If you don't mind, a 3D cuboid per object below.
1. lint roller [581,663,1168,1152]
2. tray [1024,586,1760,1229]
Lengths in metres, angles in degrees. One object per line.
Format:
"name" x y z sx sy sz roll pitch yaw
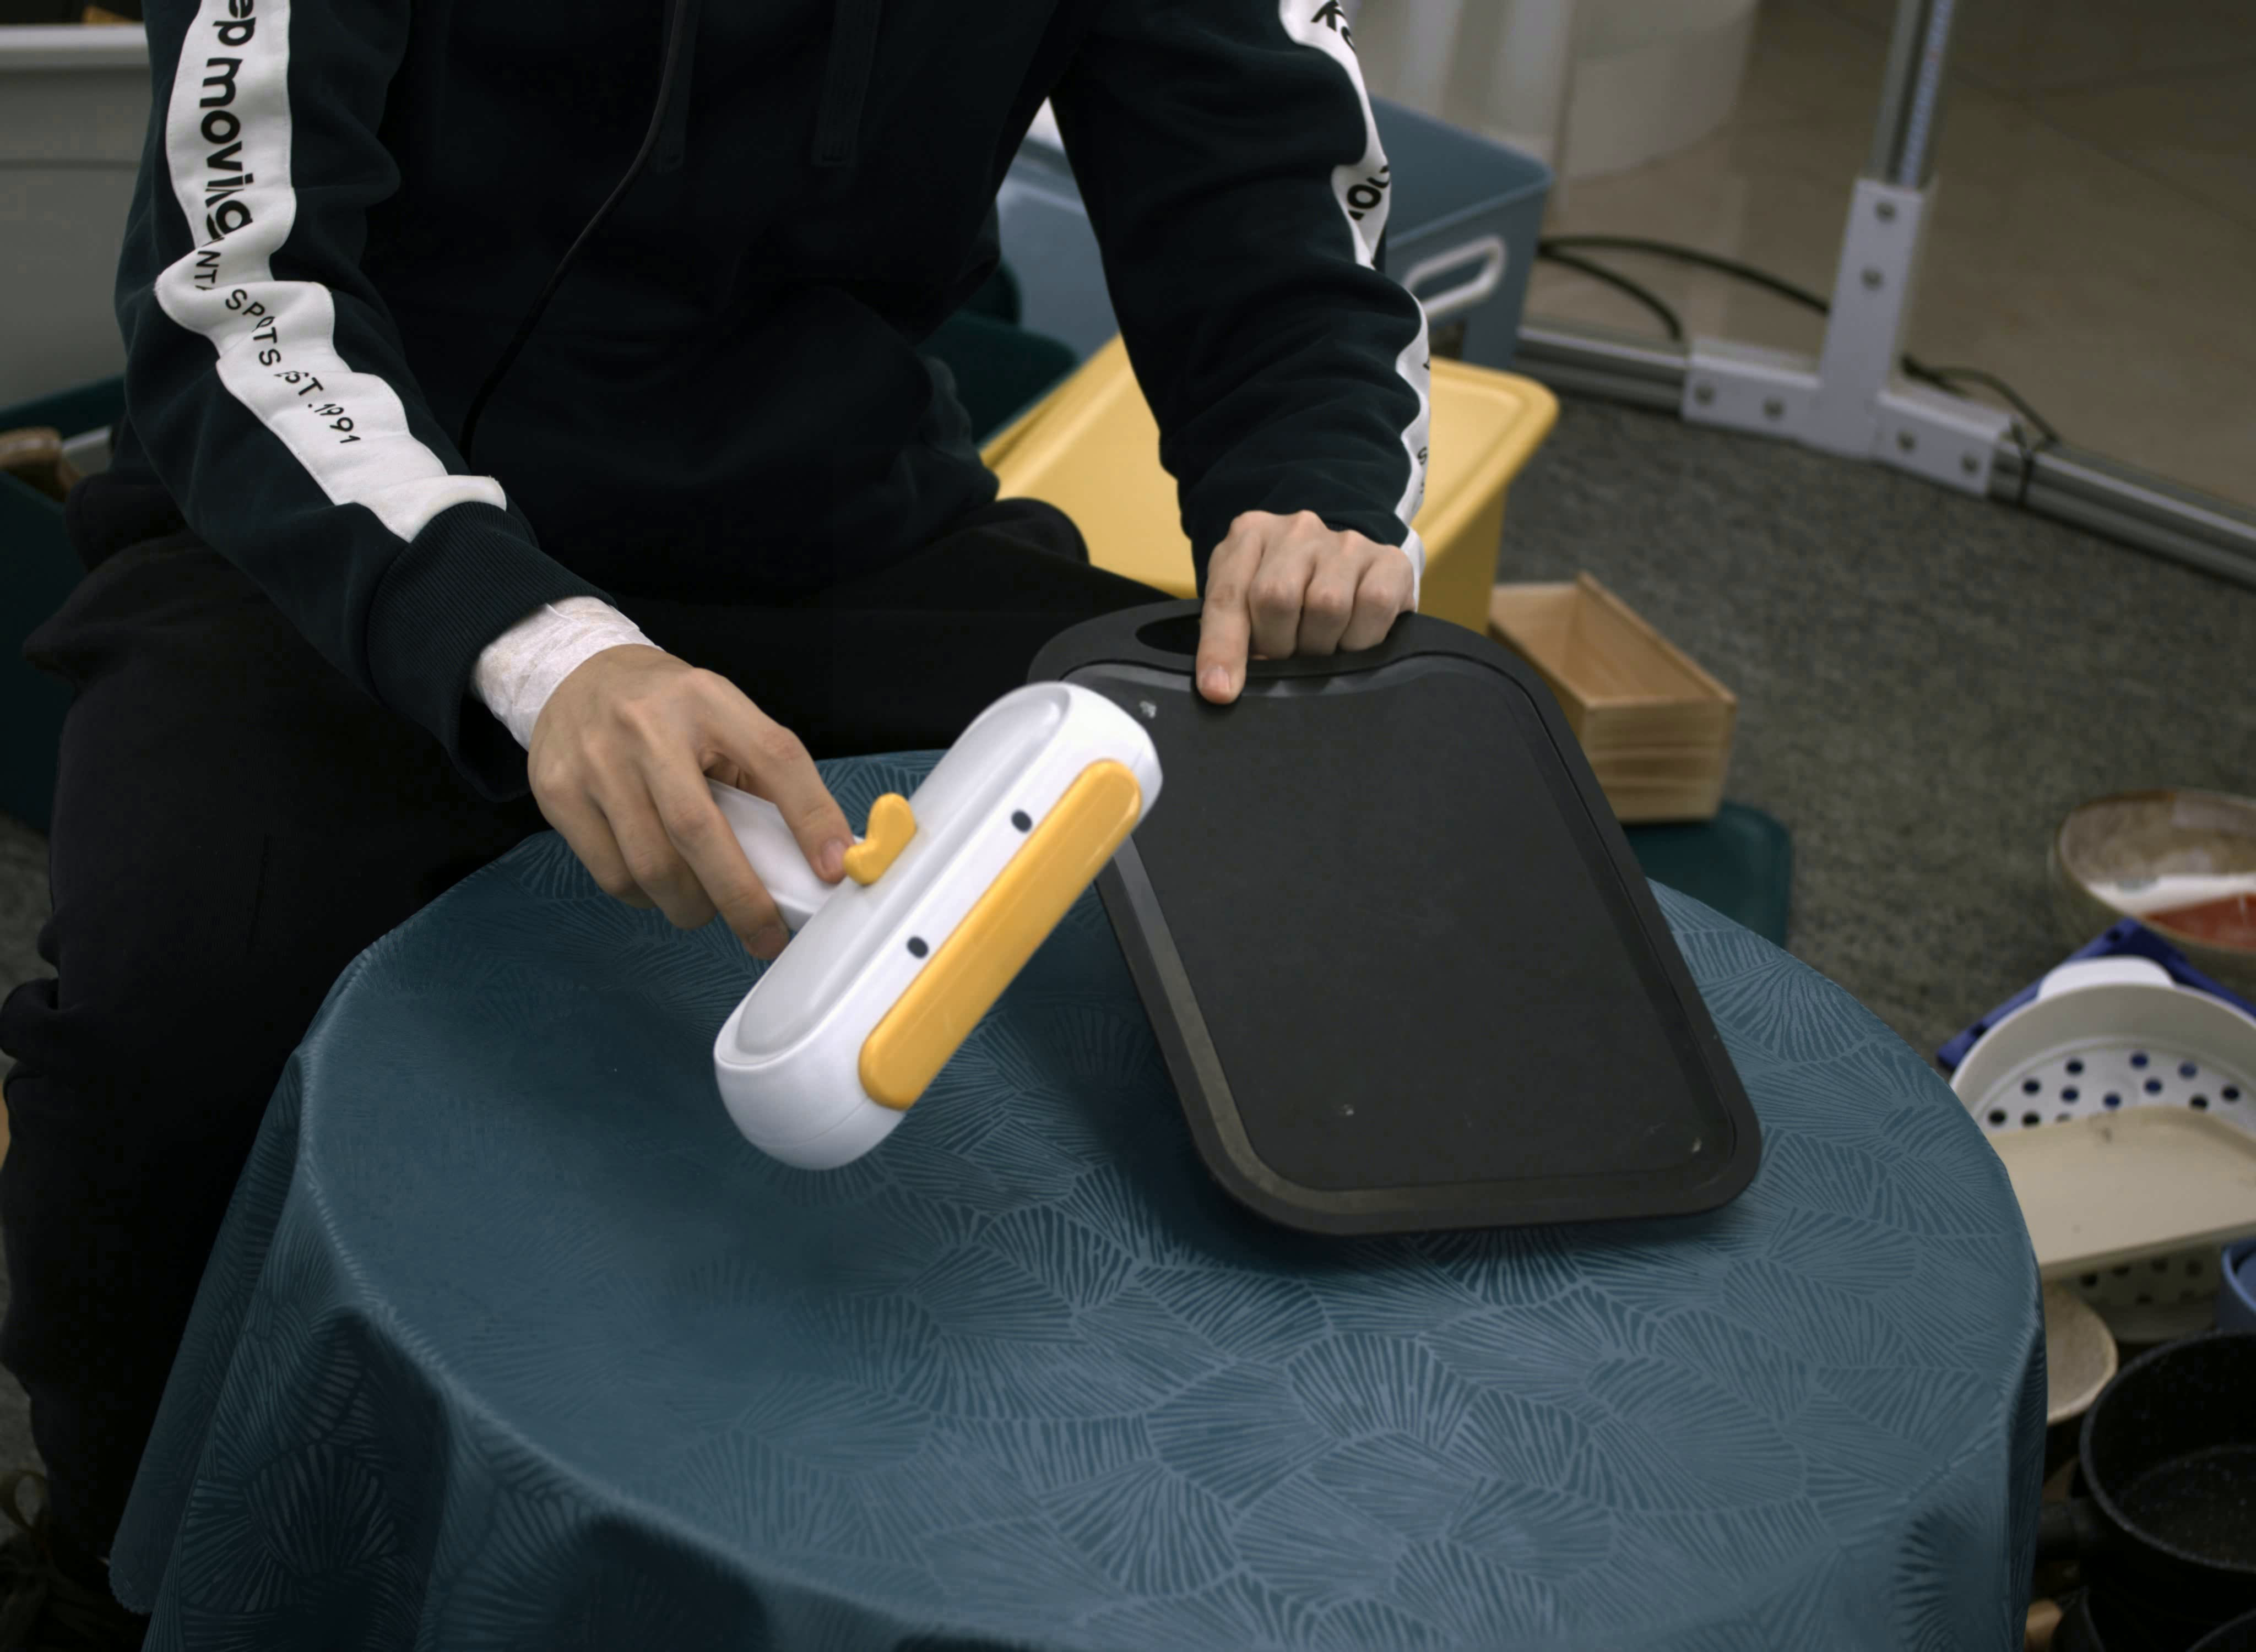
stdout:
"lint roller" -0.103 0.017 1.779 0.193 0.073 0.193 5 53 44
"tray" 0.086 0.020 1.886 0.210 0.010 0.328 -2 43 -19
